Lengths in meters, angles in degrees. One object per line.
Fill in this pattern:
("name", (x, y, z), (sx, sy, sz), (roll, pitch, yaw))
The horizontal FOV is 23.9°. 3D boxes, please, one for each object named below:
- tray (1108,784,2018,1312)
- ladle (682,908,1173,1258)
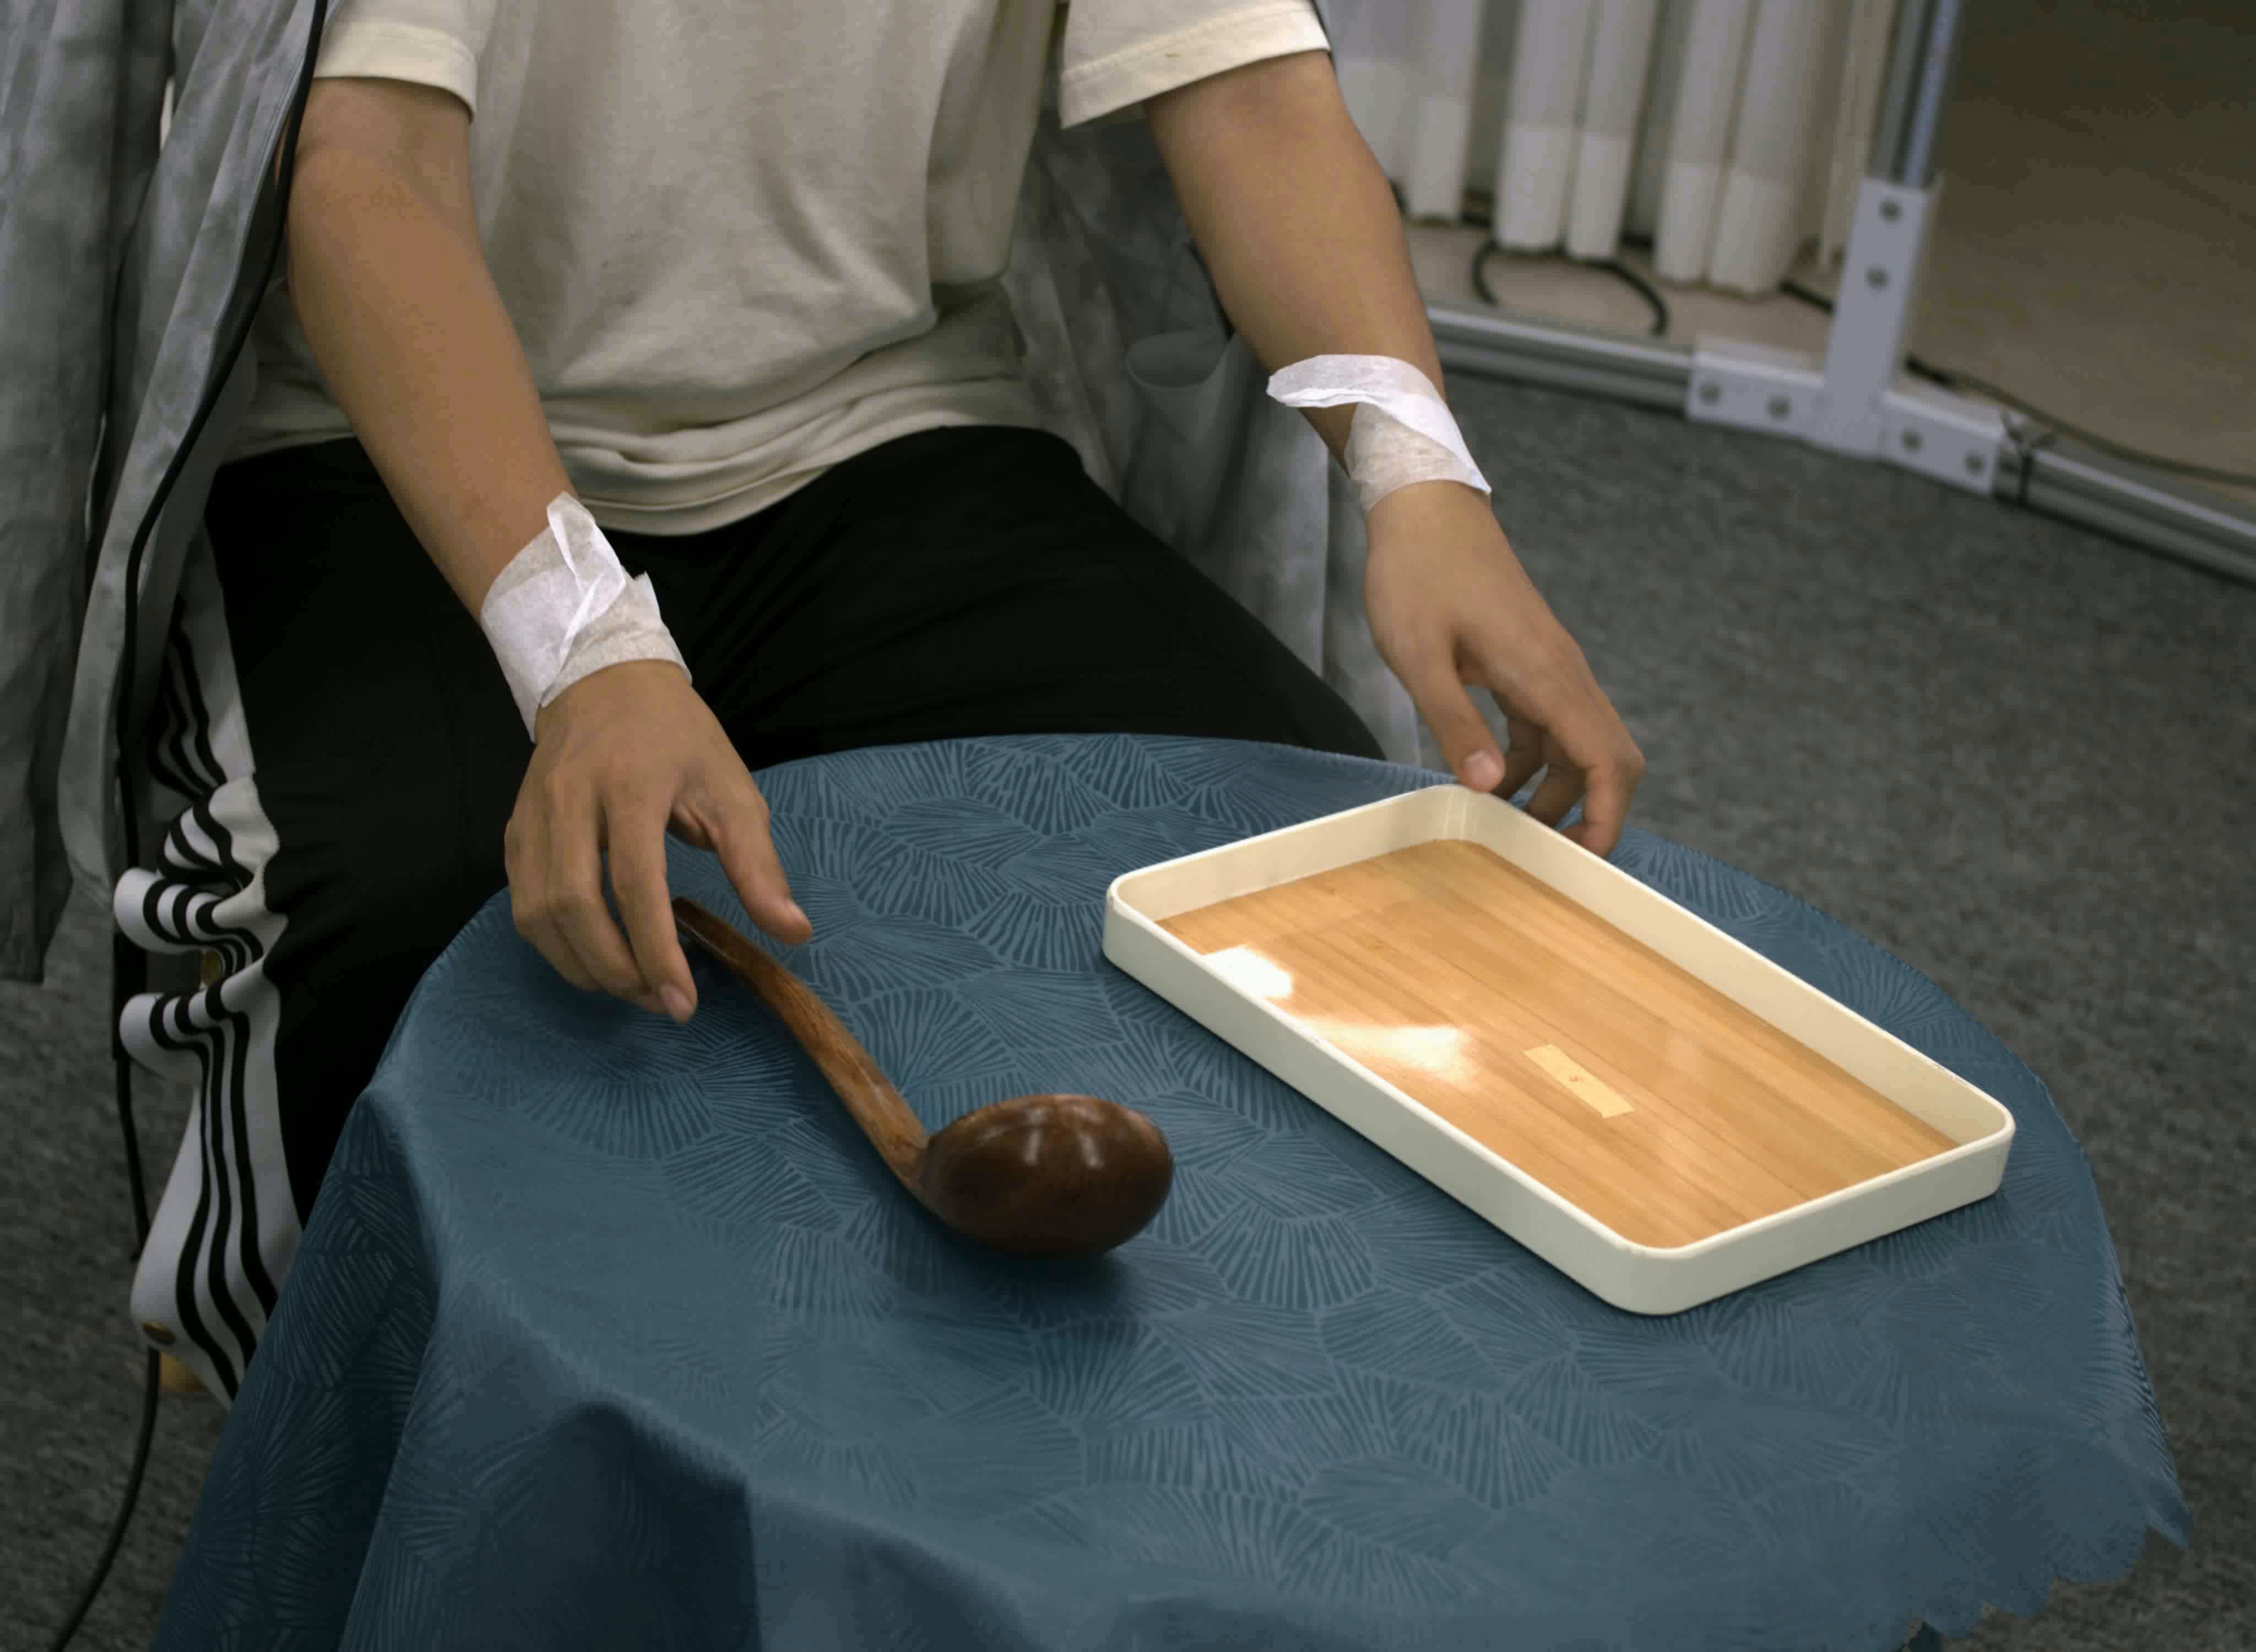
("tray", (0.151, 0.074, 1.907), (0.190, 0.027, 0.303), (-15, 34, -36))
("ladle", (-0.075, 0.068, 1.820), (0.081, 0.076, 0.276), (39, 3, -38))
